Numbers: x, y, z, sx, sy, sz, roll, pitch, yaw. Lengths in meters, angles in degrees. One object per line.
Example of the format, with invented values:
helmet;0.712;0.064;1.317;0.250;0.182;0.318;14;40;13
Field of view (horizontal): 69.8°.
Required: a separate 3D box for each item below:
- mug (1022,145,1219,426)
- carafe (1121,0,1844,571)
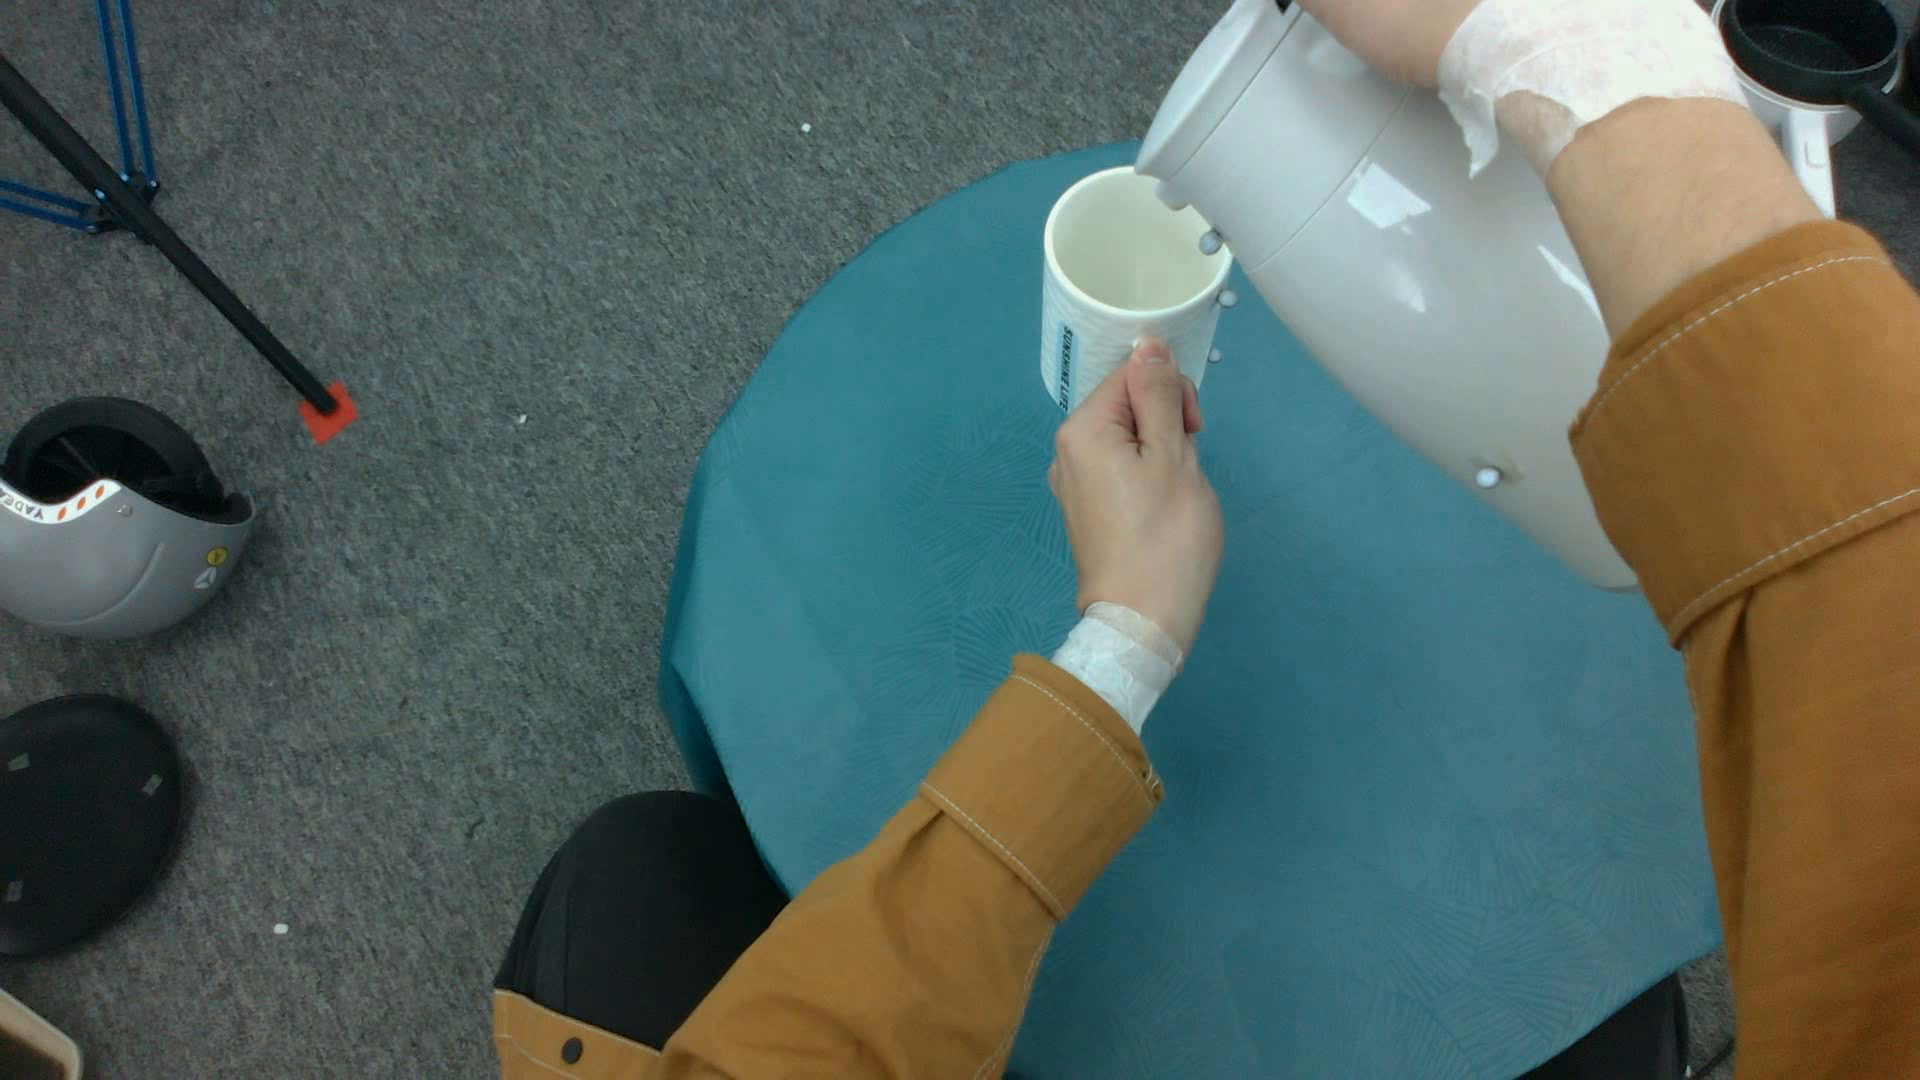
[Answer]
mug;0.075;-0.107;0.652;0.085;0.101;0.118;-6;61;-4
carafe;0.188;-0.119;0.500;0.248;0.167;0.133;36;63;-7
